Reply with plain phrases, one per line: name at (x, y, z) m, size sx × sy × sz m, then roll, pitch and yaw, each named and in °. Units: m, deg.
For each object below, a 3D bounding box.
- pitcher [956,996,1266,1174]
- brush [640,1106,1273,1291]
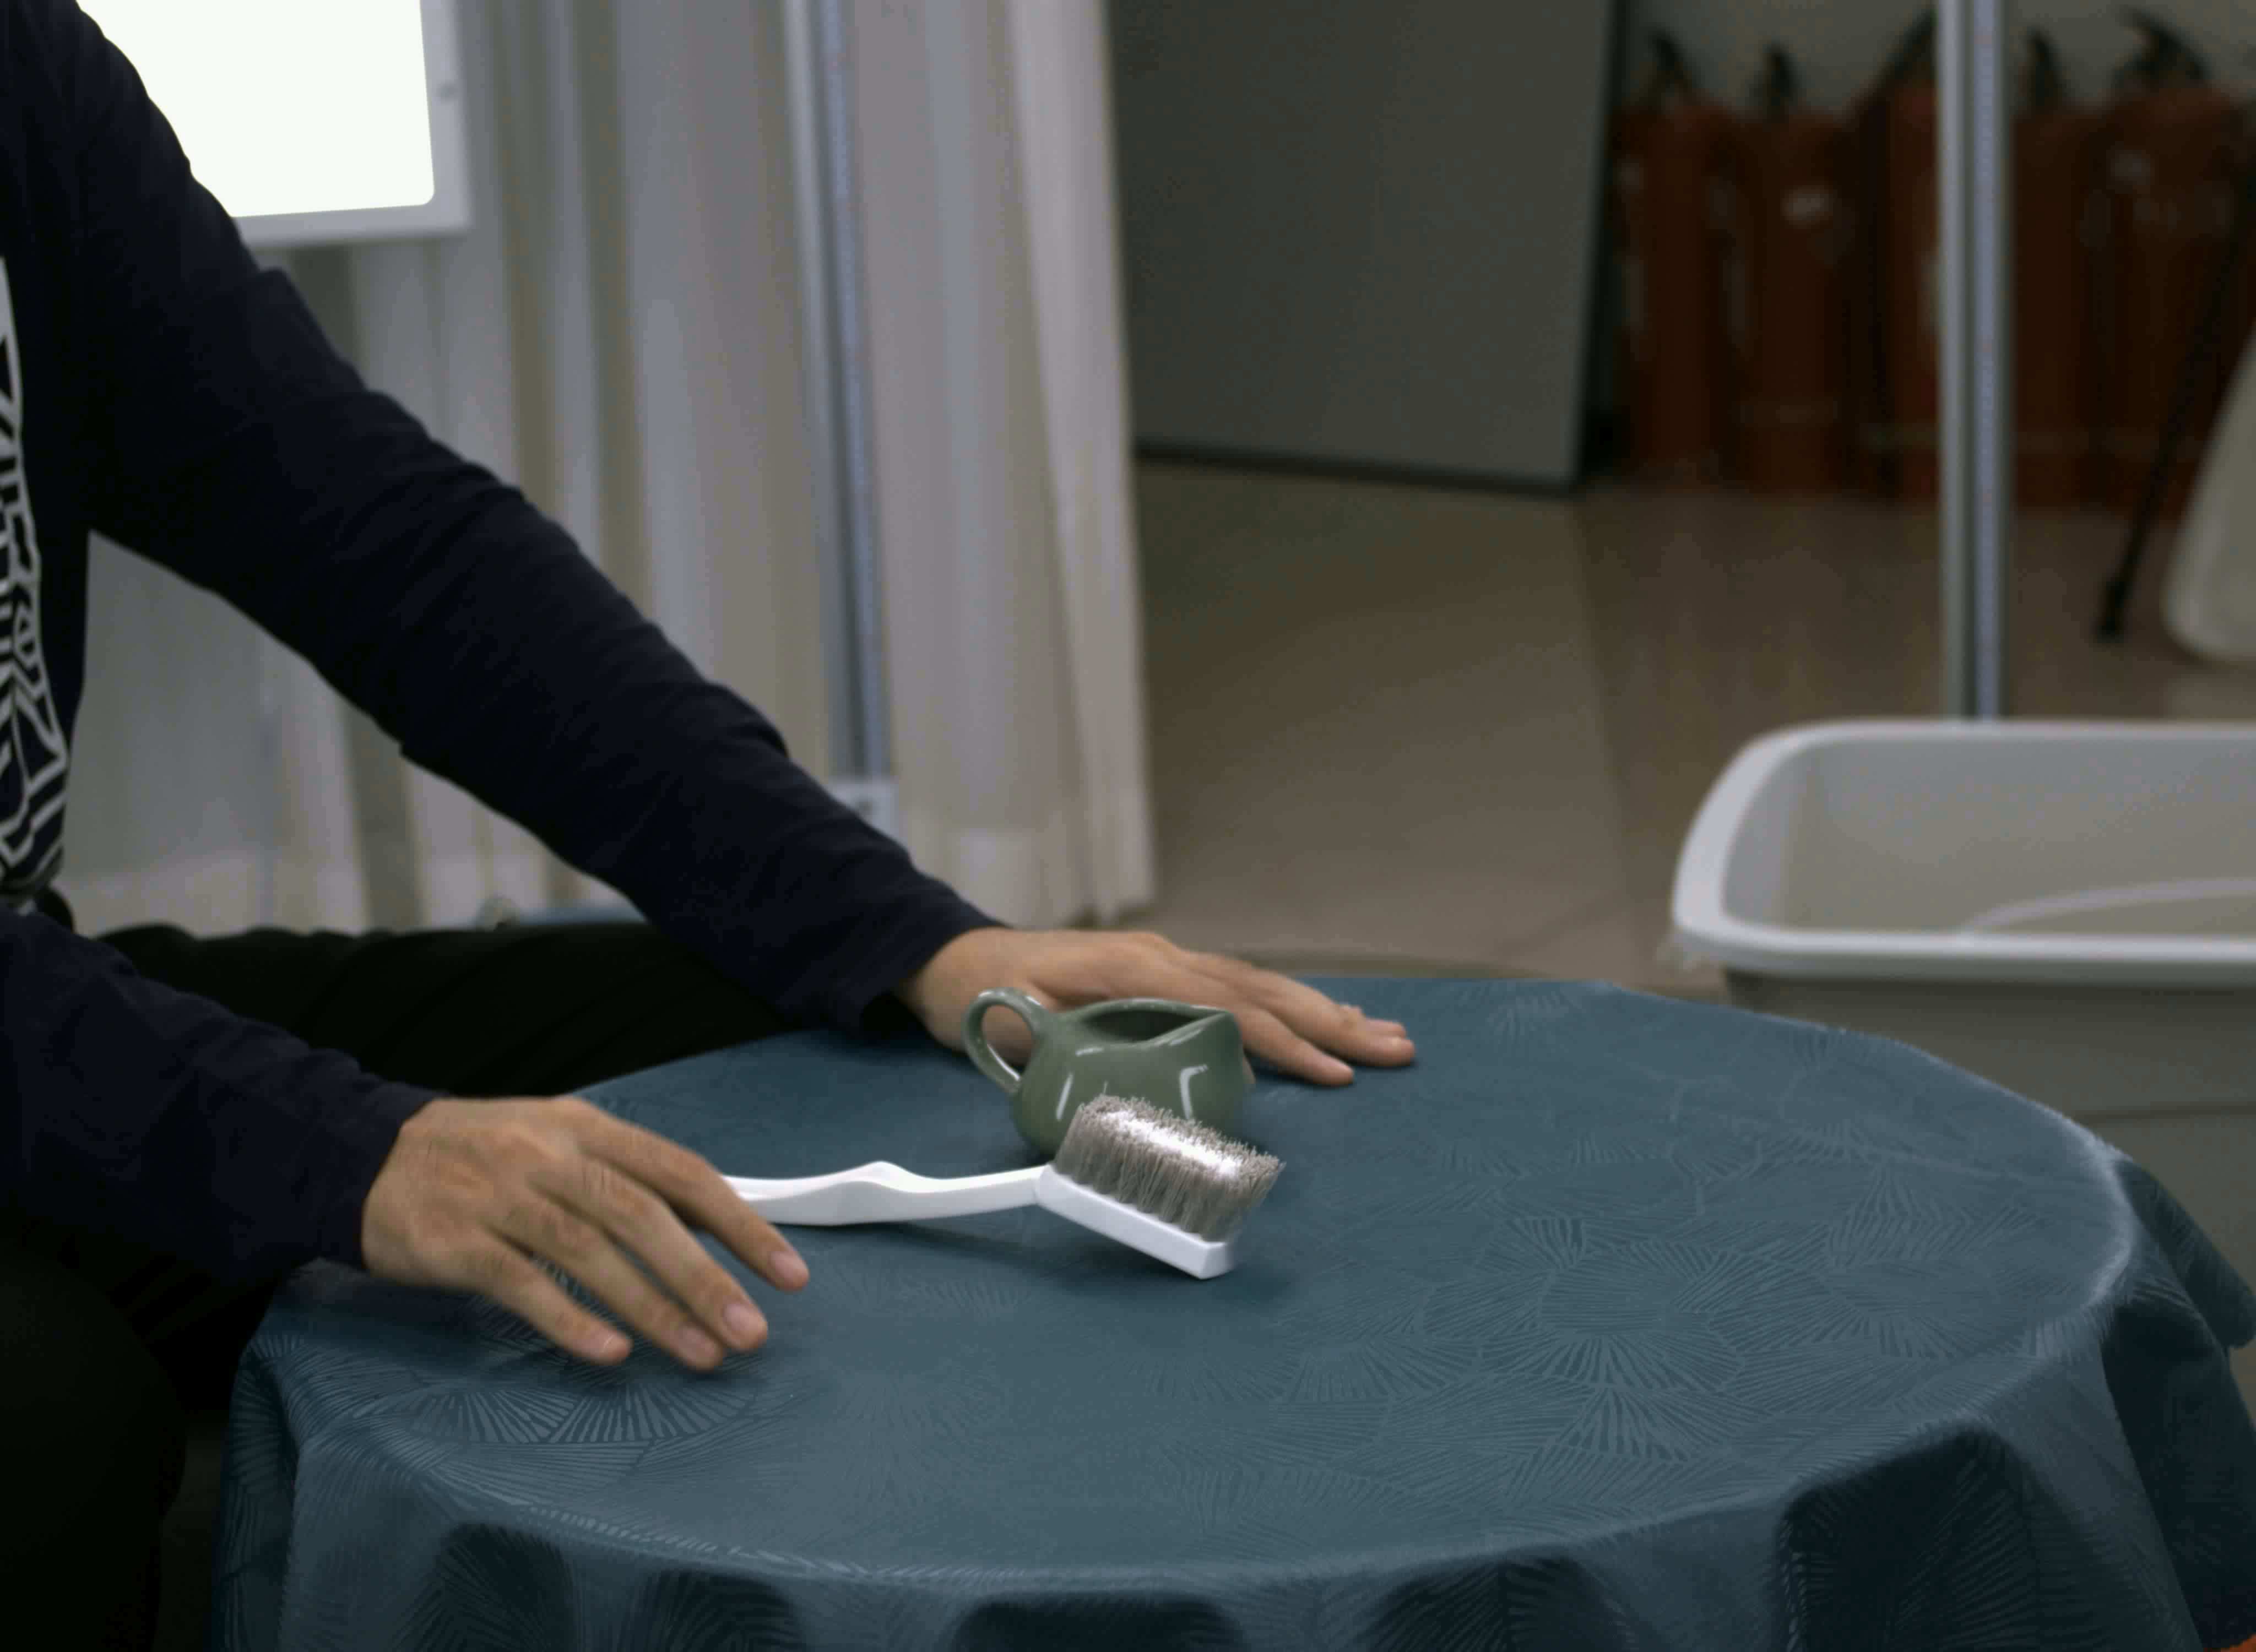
pitcher at (-0.004, 0.086, 1.806) m, size 0.112 × 0.057 × 0.083 m, roll 0°, pitch 13°, yaw 23°
brush at (-0.061, 0.110, 1.742) m, size 0.245 × 0.051 × 0.034 m, roll 5°, pitch 21°, yaw 34°
